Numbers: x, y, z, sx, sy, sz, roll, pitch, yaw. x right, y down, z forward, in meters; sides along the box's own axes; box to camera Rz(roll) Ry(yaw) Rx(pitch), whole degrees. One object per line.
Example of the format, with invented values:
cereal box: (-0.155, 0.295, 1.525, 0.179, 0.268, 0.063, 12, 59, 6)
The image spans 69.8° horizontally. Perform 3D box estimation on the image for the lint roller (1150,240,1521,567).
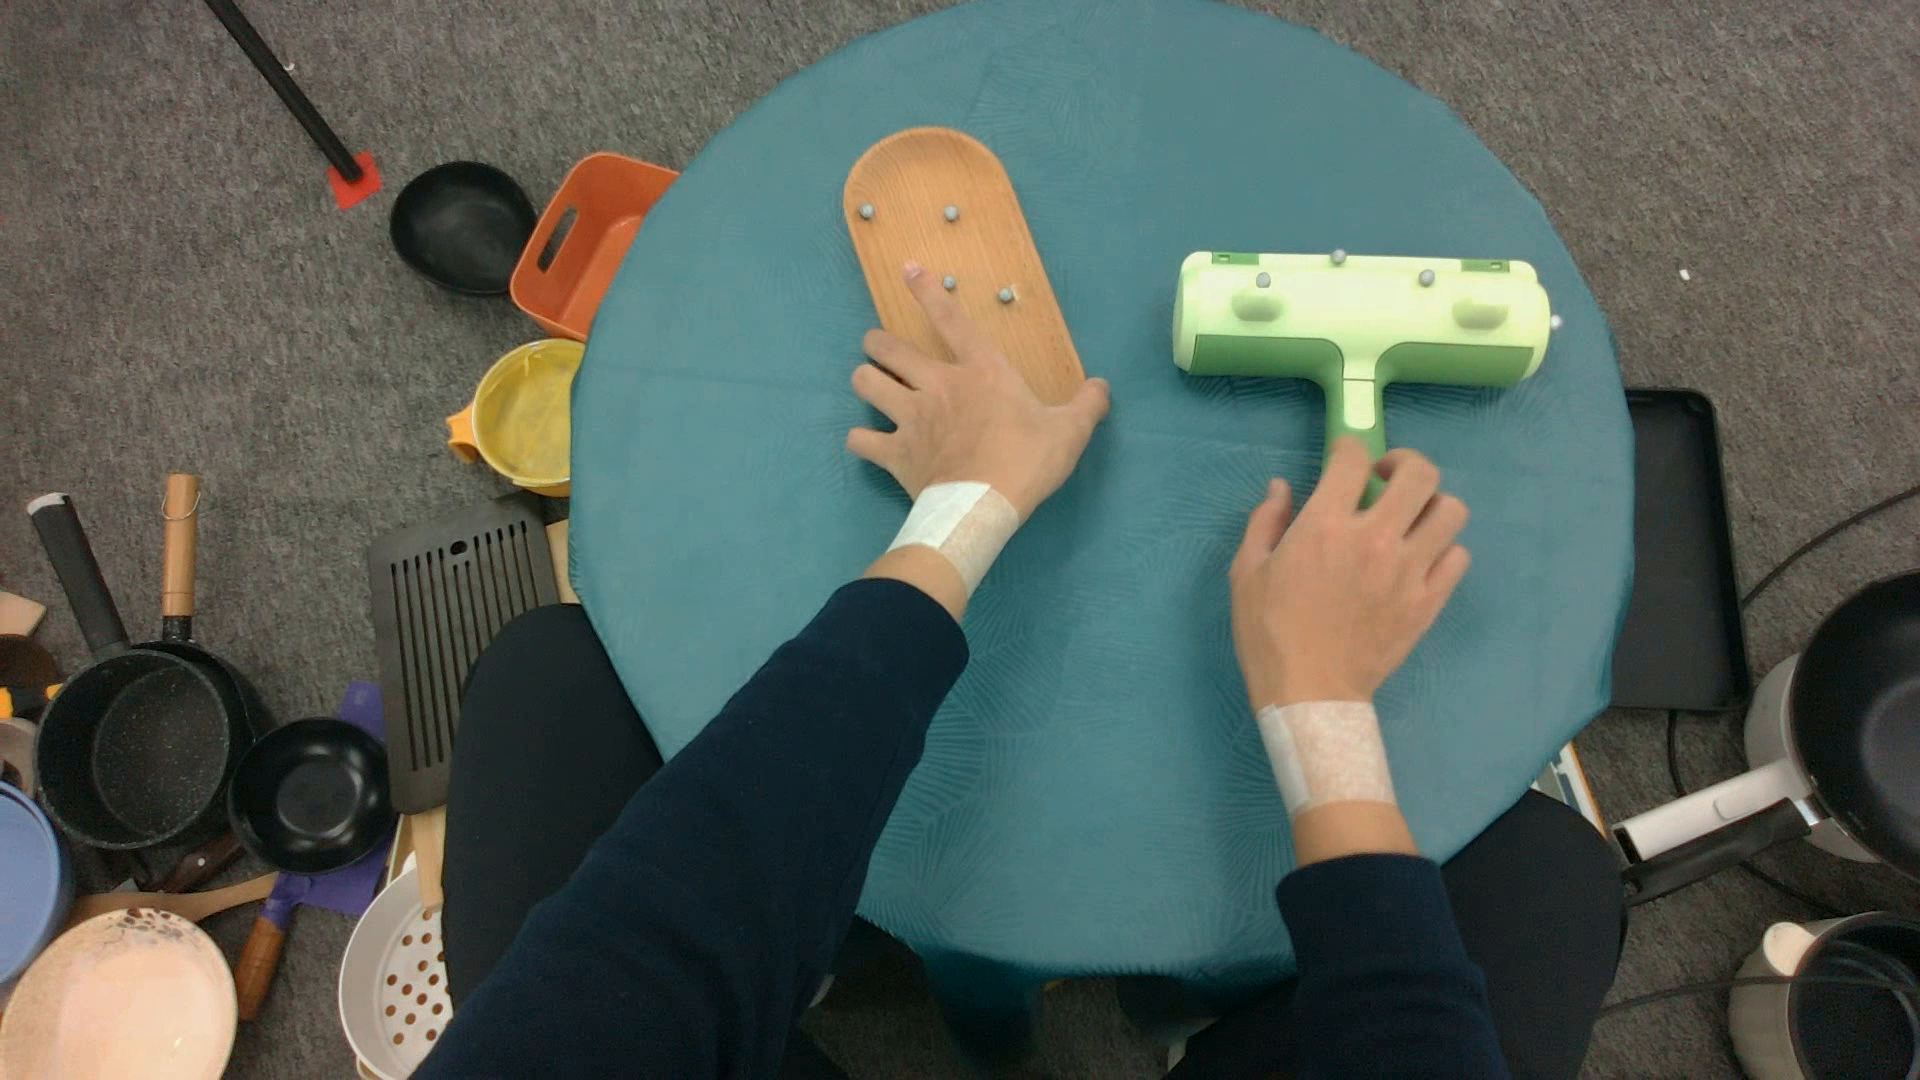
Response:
lint roller: (0.204, -0.083, 0.735, 0.198, 0.082, 0.184, 1, 66, 2)

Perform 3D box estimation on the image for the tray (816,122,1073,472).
tray: (-0.011, -0.143, 0.797, 0.102, 0.020, 0.231, -20, 74, -5)
